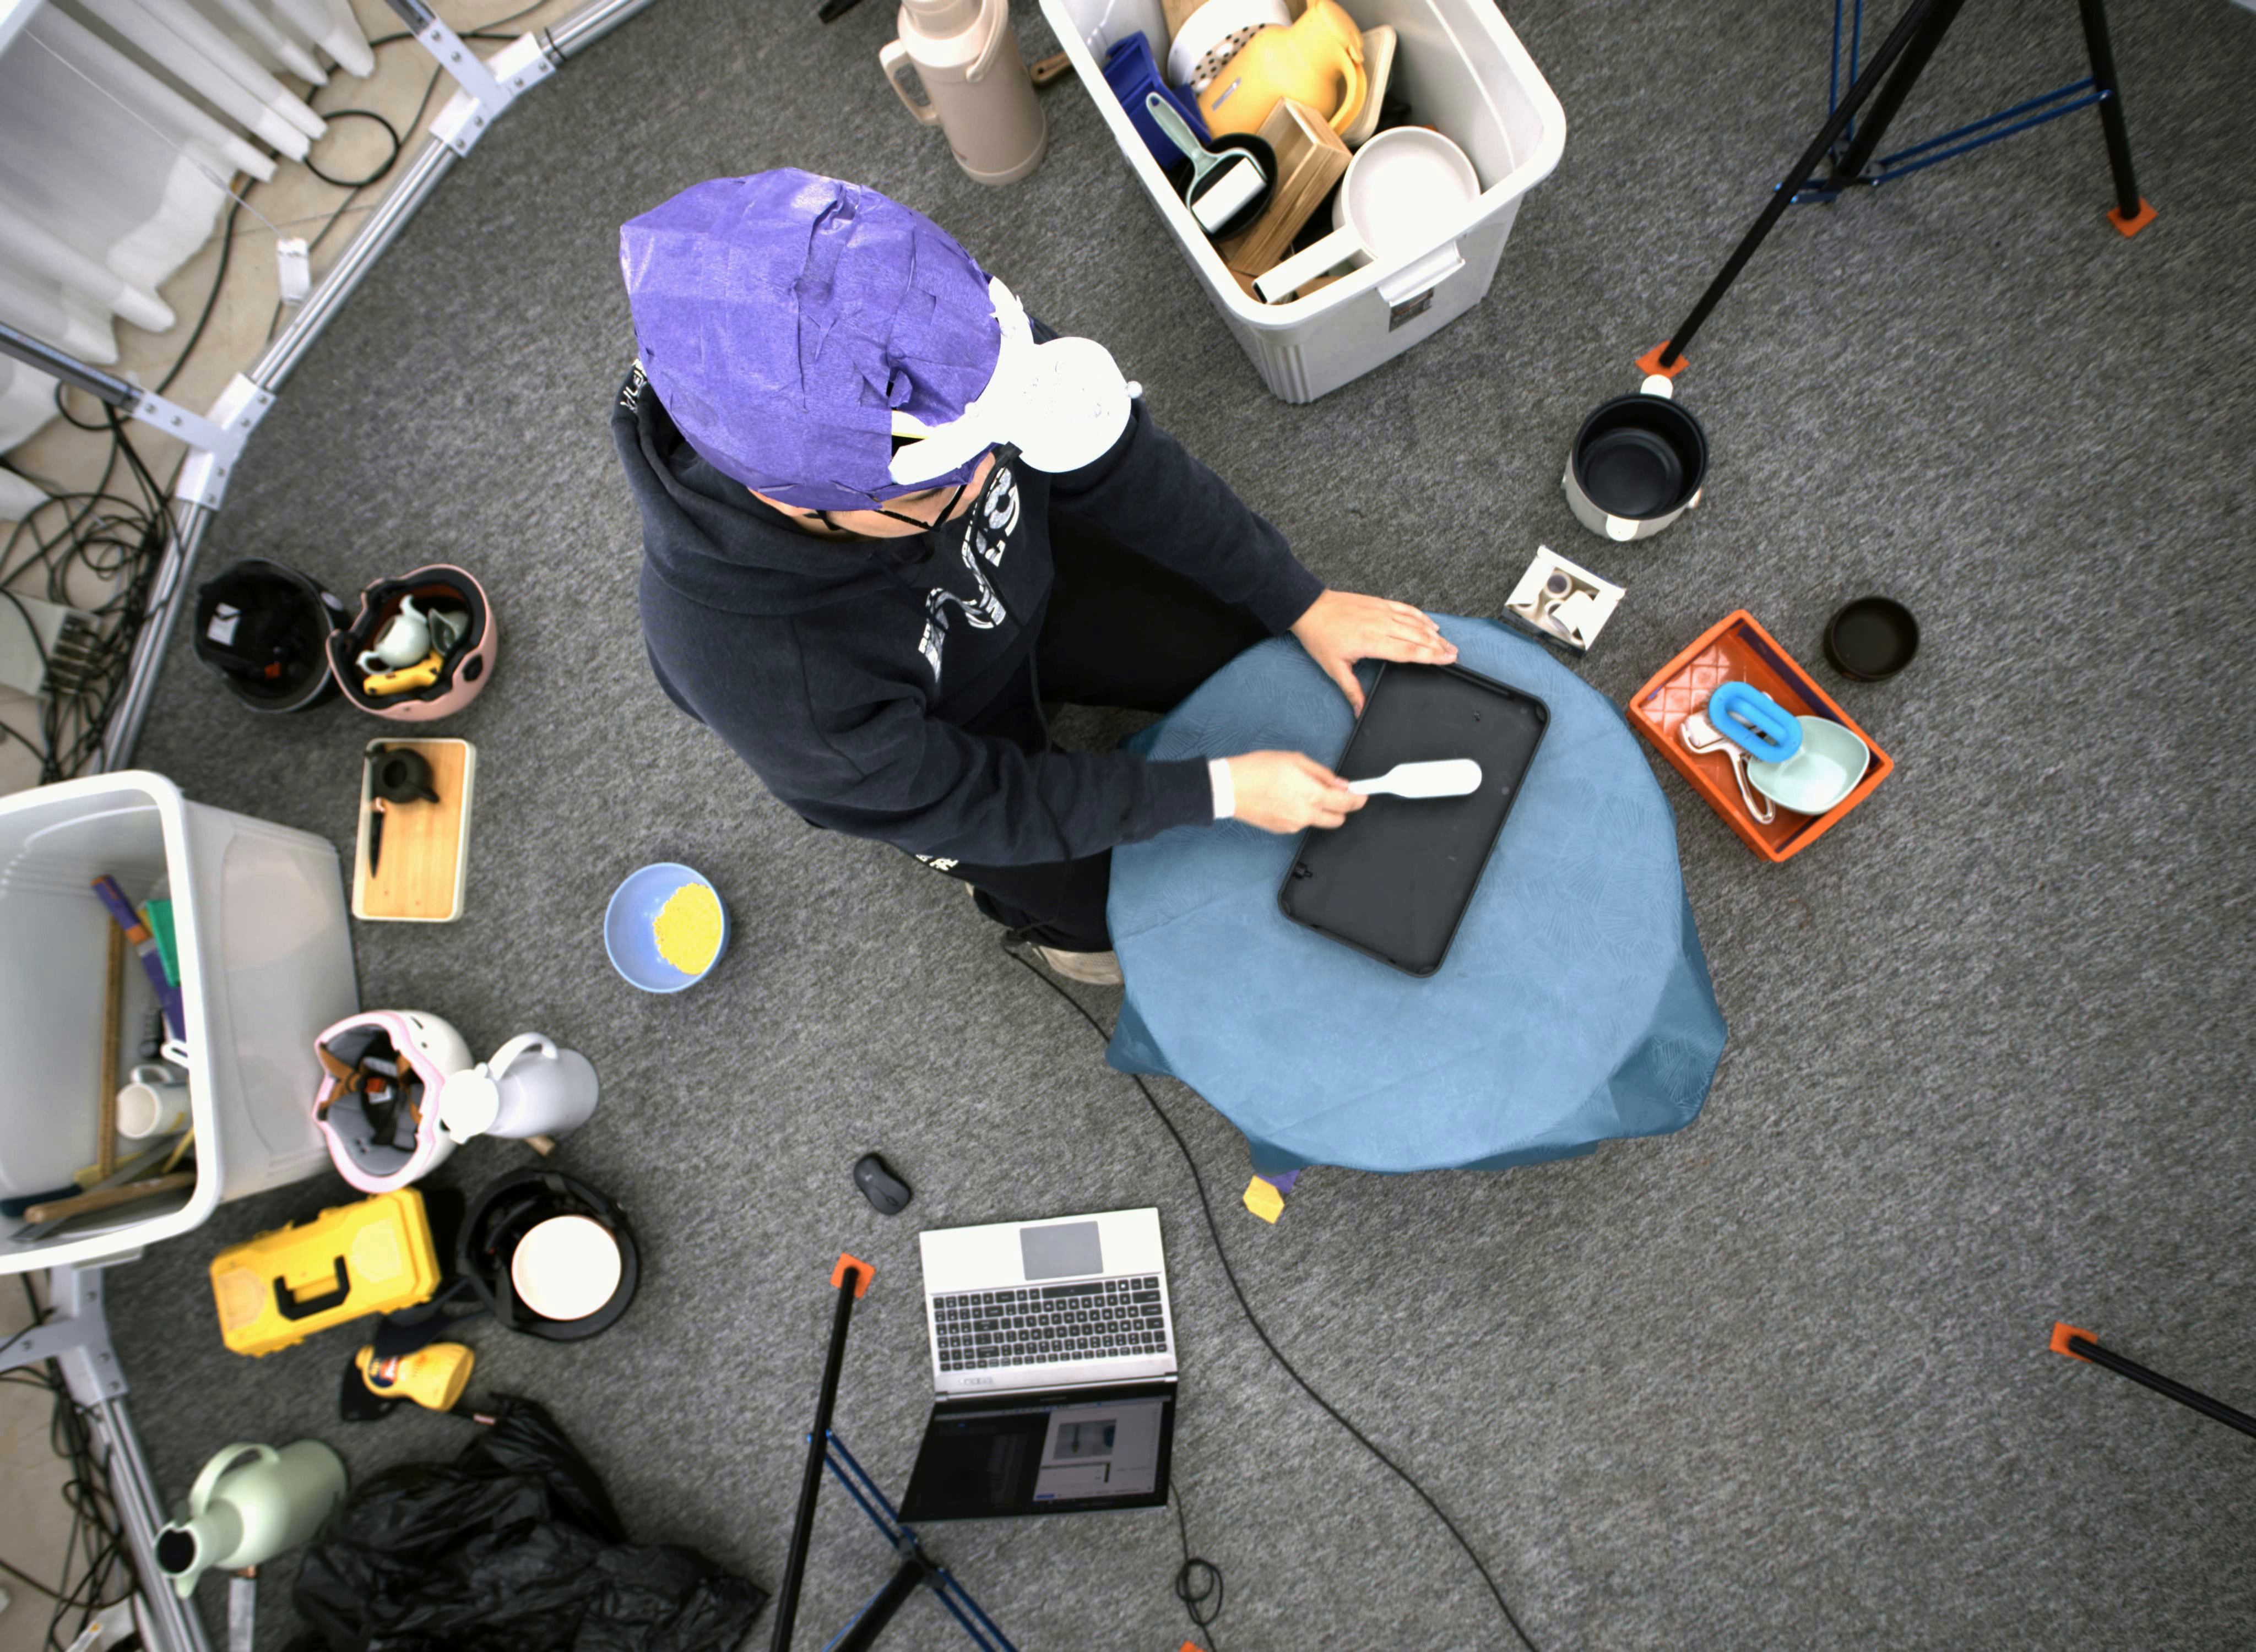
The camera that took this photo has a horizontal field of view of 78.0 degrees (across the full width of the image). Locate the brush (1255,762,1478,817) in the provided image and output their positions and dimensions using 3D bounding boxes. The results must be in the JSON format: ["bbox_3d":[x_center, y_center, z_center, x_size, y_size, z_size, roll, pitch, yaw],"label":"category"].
[{"bbox_3d":[0.244,-0.036,1.421,0.229,0.049,0.038,-10,104,2],"label":"brush"}]

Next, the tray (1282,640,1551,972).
[{"bbox_3d":[0.301,-0.023,1.443,0.184,0.037,0.318,23,91,12],"label":"tray"}]
